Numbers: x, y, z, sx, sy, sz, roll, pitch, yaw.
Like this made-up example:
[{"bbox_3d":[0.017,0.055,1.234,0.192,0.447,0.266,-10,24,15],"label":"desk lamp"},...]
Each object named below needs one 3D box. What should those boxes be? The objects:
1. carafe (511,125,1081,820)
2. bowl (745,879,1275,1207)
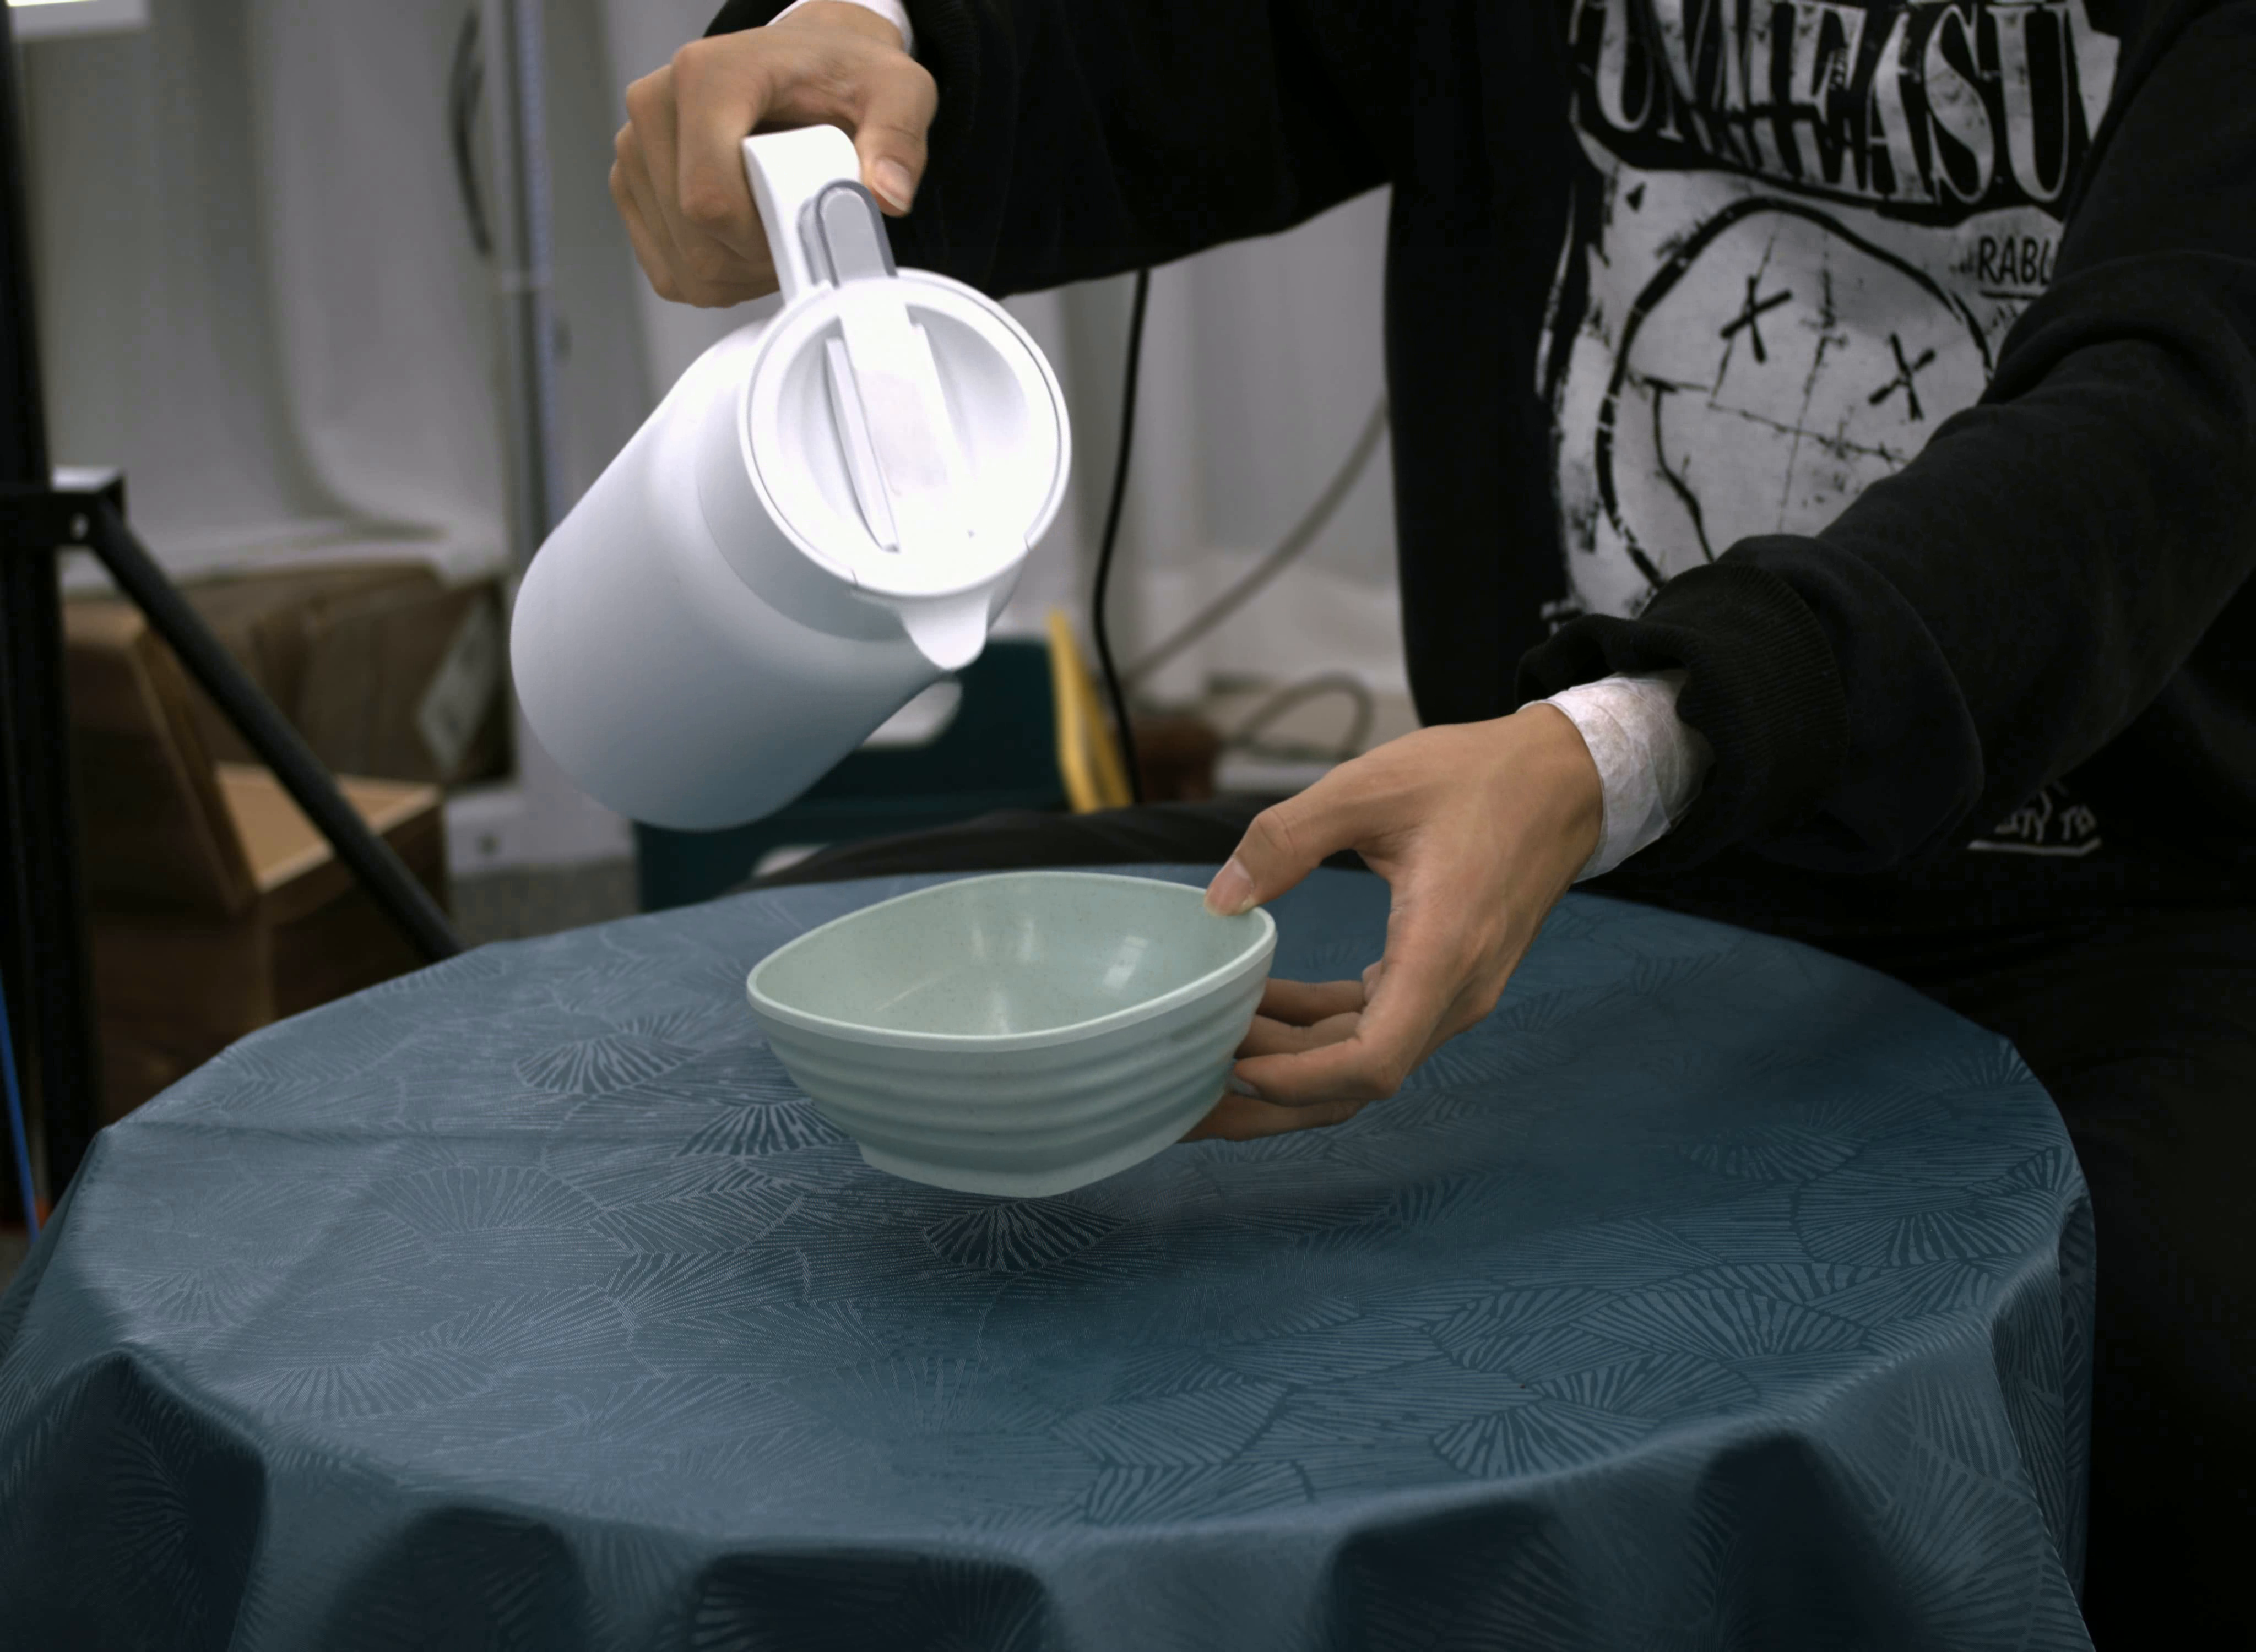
[{"bbox_3d":[-0.109,-0.100,1.625,0.122,0.174,0.271,-14,-7,-19],"label":"carafe"},{"bbox_3d":[-0.031,0.064,1.509,0.151,0.058,0.152,-6,16,0],"label":"bowl"}]
